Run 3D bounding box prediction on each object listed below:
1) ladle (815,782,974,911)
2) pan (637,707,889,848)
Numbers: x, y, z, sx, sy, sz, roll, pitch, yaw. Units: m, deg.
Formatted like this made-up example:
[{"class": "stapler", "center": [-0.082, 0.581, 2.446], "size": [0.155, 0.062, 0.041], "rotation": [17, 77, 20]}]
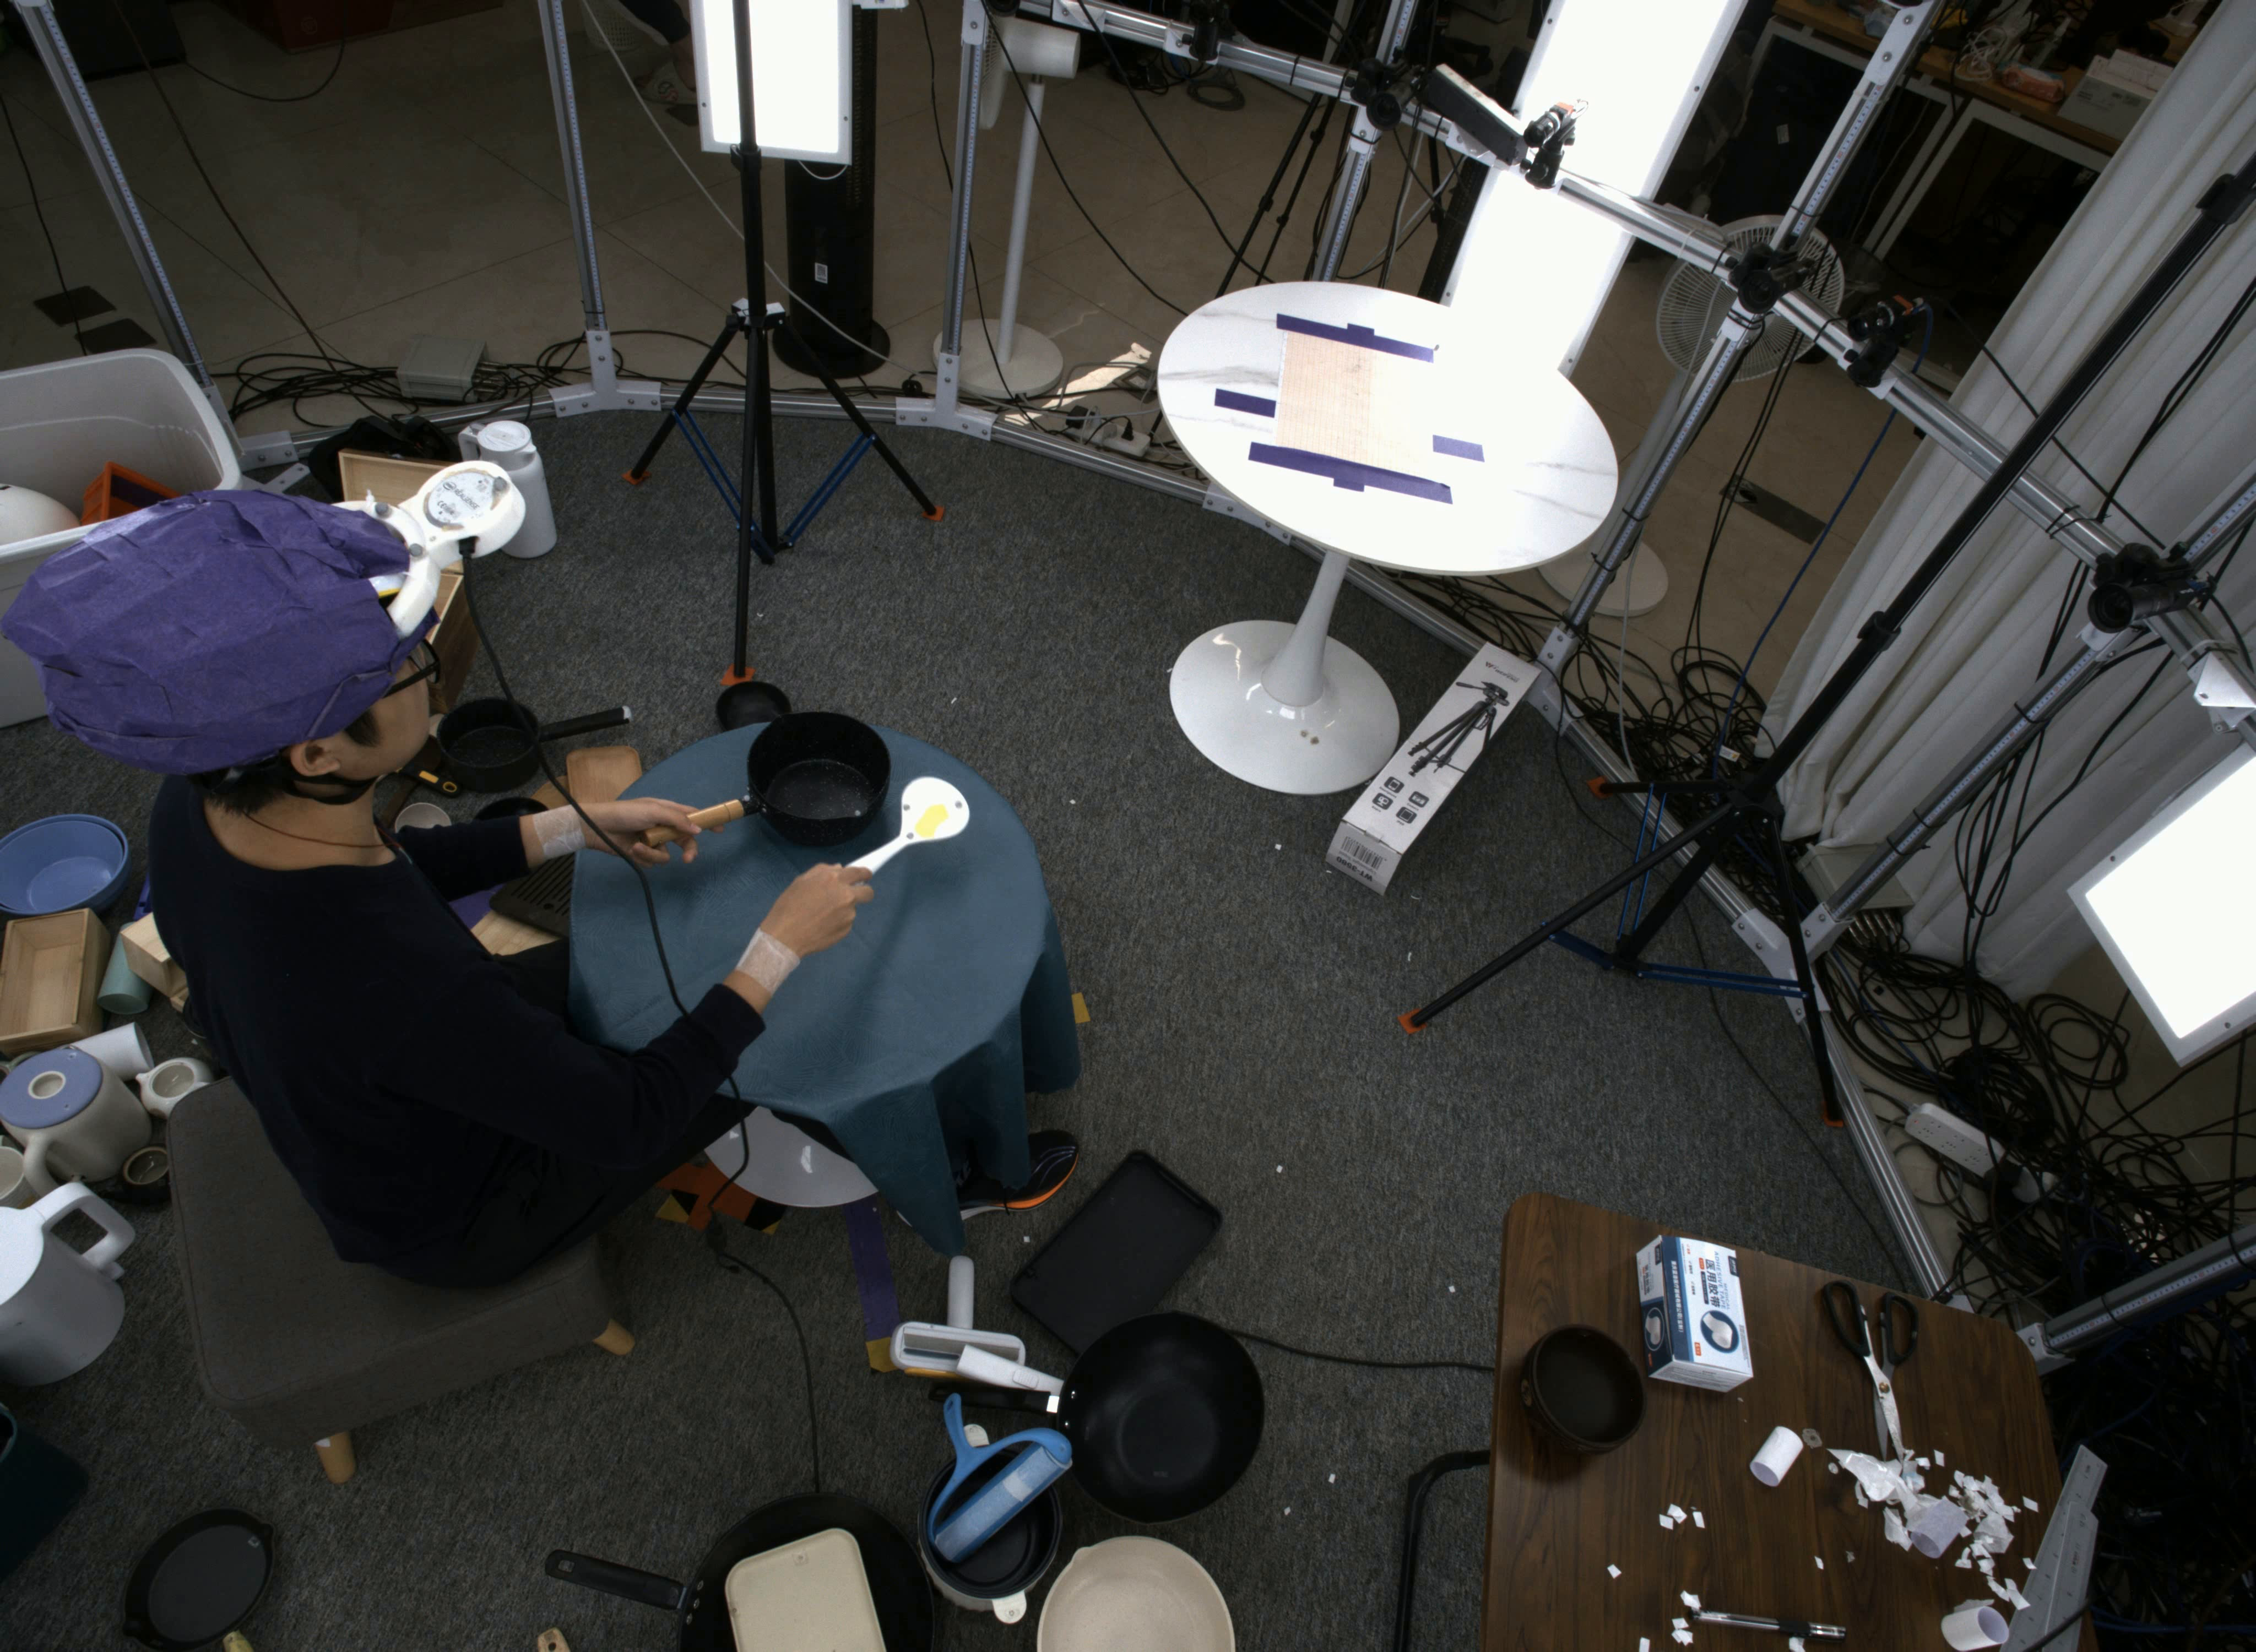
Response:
[{"class": "ladle", "center": [-0.279, 0.024, 1.567], "size": [0.090, 0.070, 0.292], "rotation": [46, 25, 0]}, {"class": "pan", "center": [-0.465, -0.030, 1.655], "size": [0.344, 0.110, 0.203], "rotation": [-31, 67, -33]}]
